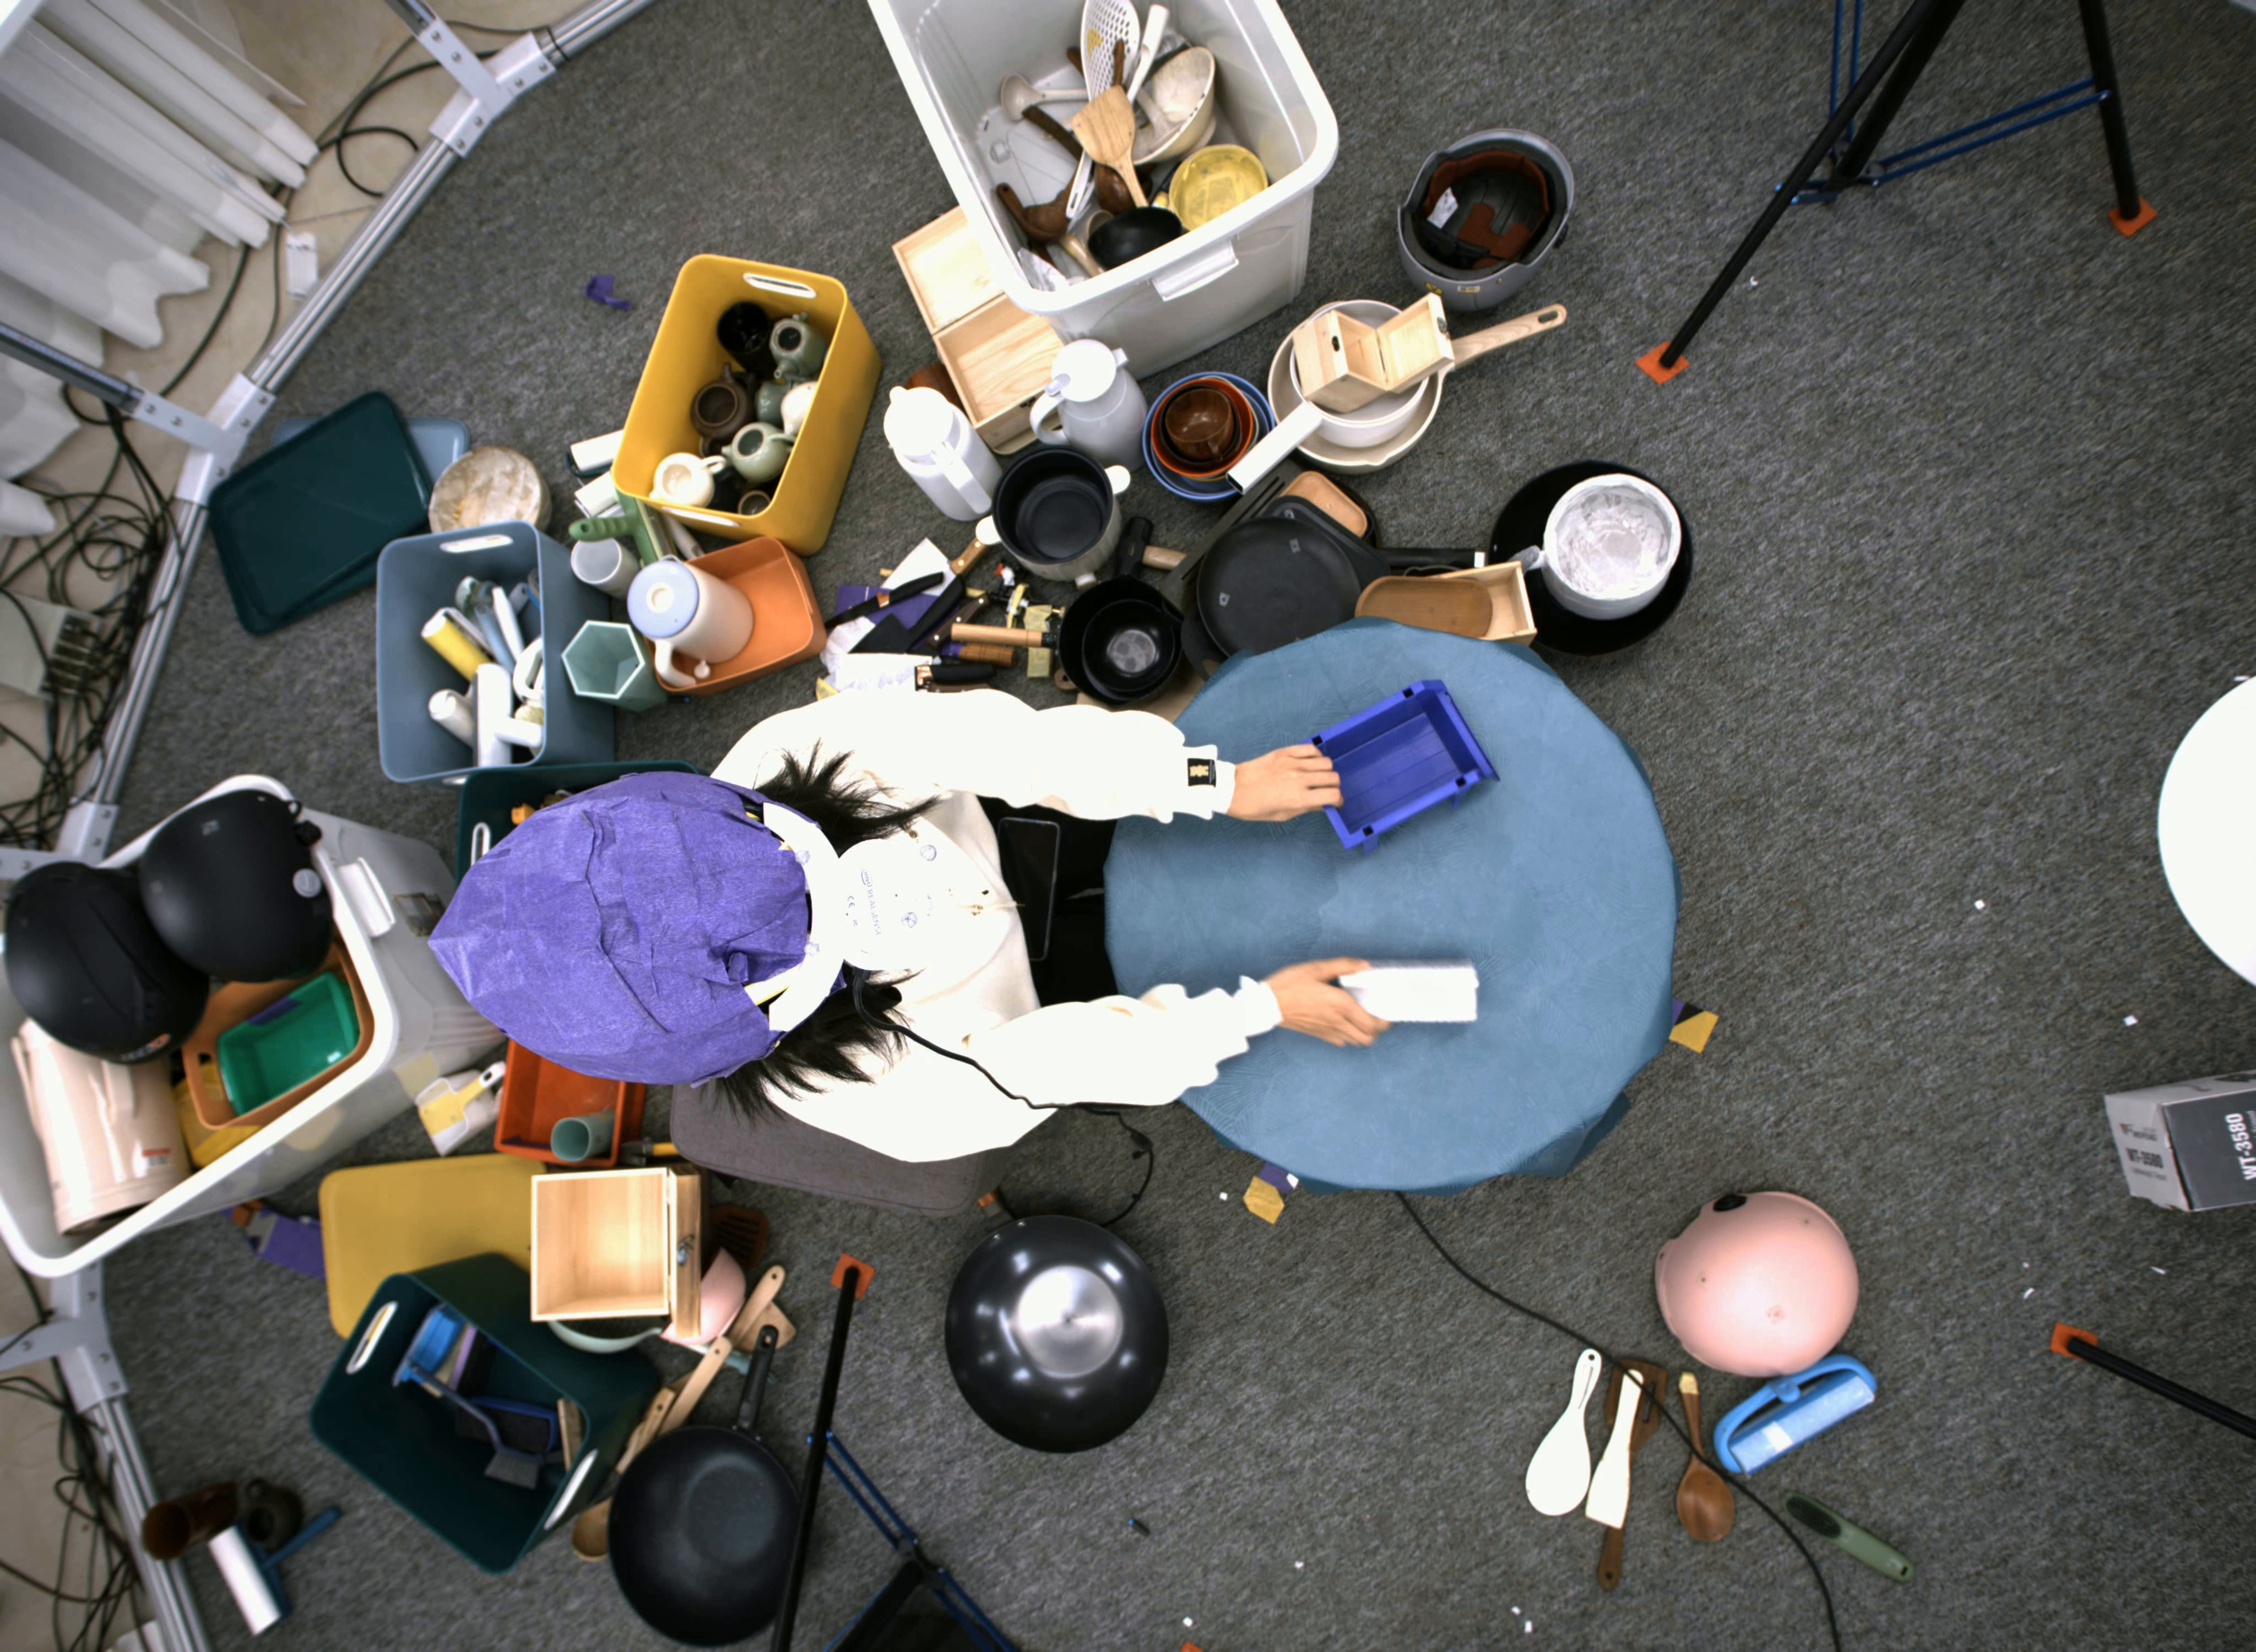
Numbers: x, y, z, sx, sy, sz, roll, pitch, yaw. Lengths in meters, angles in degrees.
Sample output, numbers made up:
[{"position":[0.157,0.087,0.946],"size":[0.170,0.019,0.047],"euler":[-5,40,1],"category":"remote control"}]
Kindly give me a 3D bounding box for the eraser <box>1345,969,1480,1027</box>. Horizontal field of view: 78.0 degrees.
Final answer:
[{"position":[0.291,0.173,1.413],"size":[0.135,0.045,0.050],"euler":[-3,110,10],"category":"eraser"}]

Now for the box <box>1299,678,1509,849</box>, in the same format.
[{"position":[0.285,-0.068,1.418],"size":[0.180,0.082,0.123],"euler":[-26,77,7],"category":"box"}]
